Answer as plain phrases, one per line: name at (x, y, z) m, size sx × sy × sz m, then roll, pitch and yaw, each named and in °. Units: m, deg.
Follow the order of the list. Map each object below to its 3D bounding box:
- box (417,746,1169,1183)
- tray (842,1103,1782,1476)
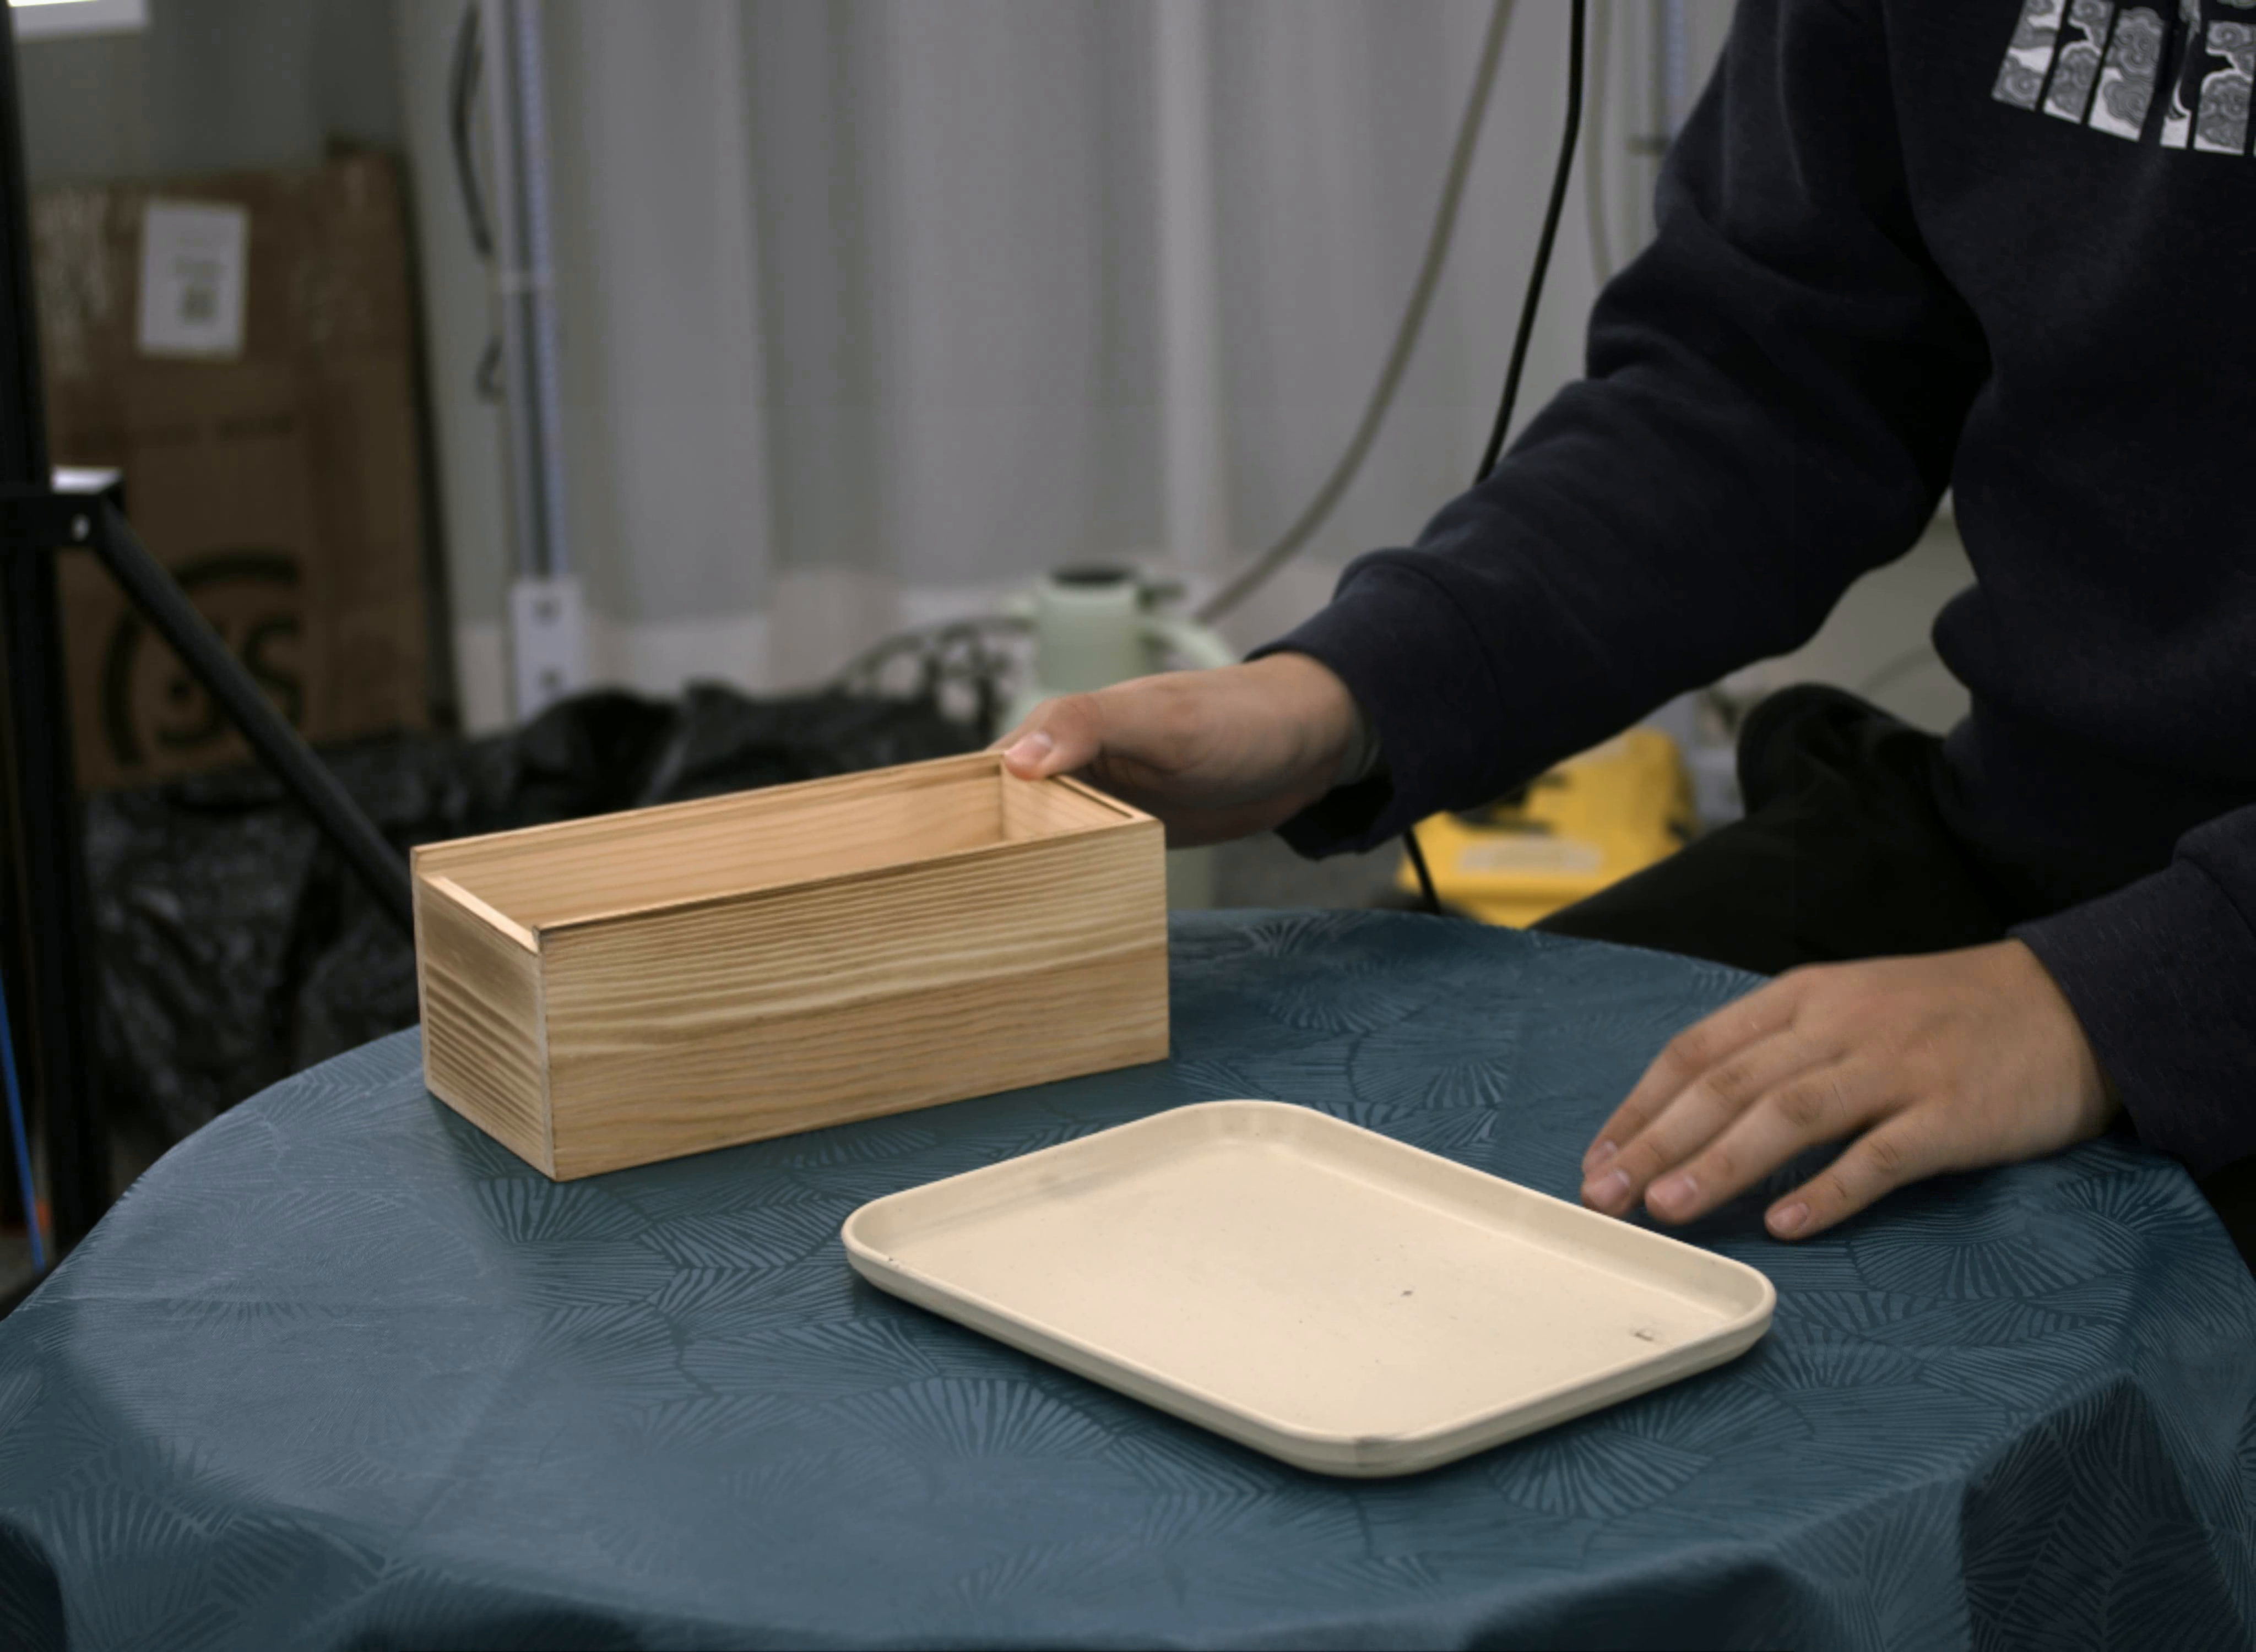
box at (-0.104, 0.040, 1.665) m, size 0.207 × 0.080 × 0.110 m, roll -10°, pitch 18°, yaw -26°
tray at (0.048, 0.125, 1.456) m, size 0.167 × 0.017 × 0.245 m, roll -14°, pitch 19°, yaw -36°
